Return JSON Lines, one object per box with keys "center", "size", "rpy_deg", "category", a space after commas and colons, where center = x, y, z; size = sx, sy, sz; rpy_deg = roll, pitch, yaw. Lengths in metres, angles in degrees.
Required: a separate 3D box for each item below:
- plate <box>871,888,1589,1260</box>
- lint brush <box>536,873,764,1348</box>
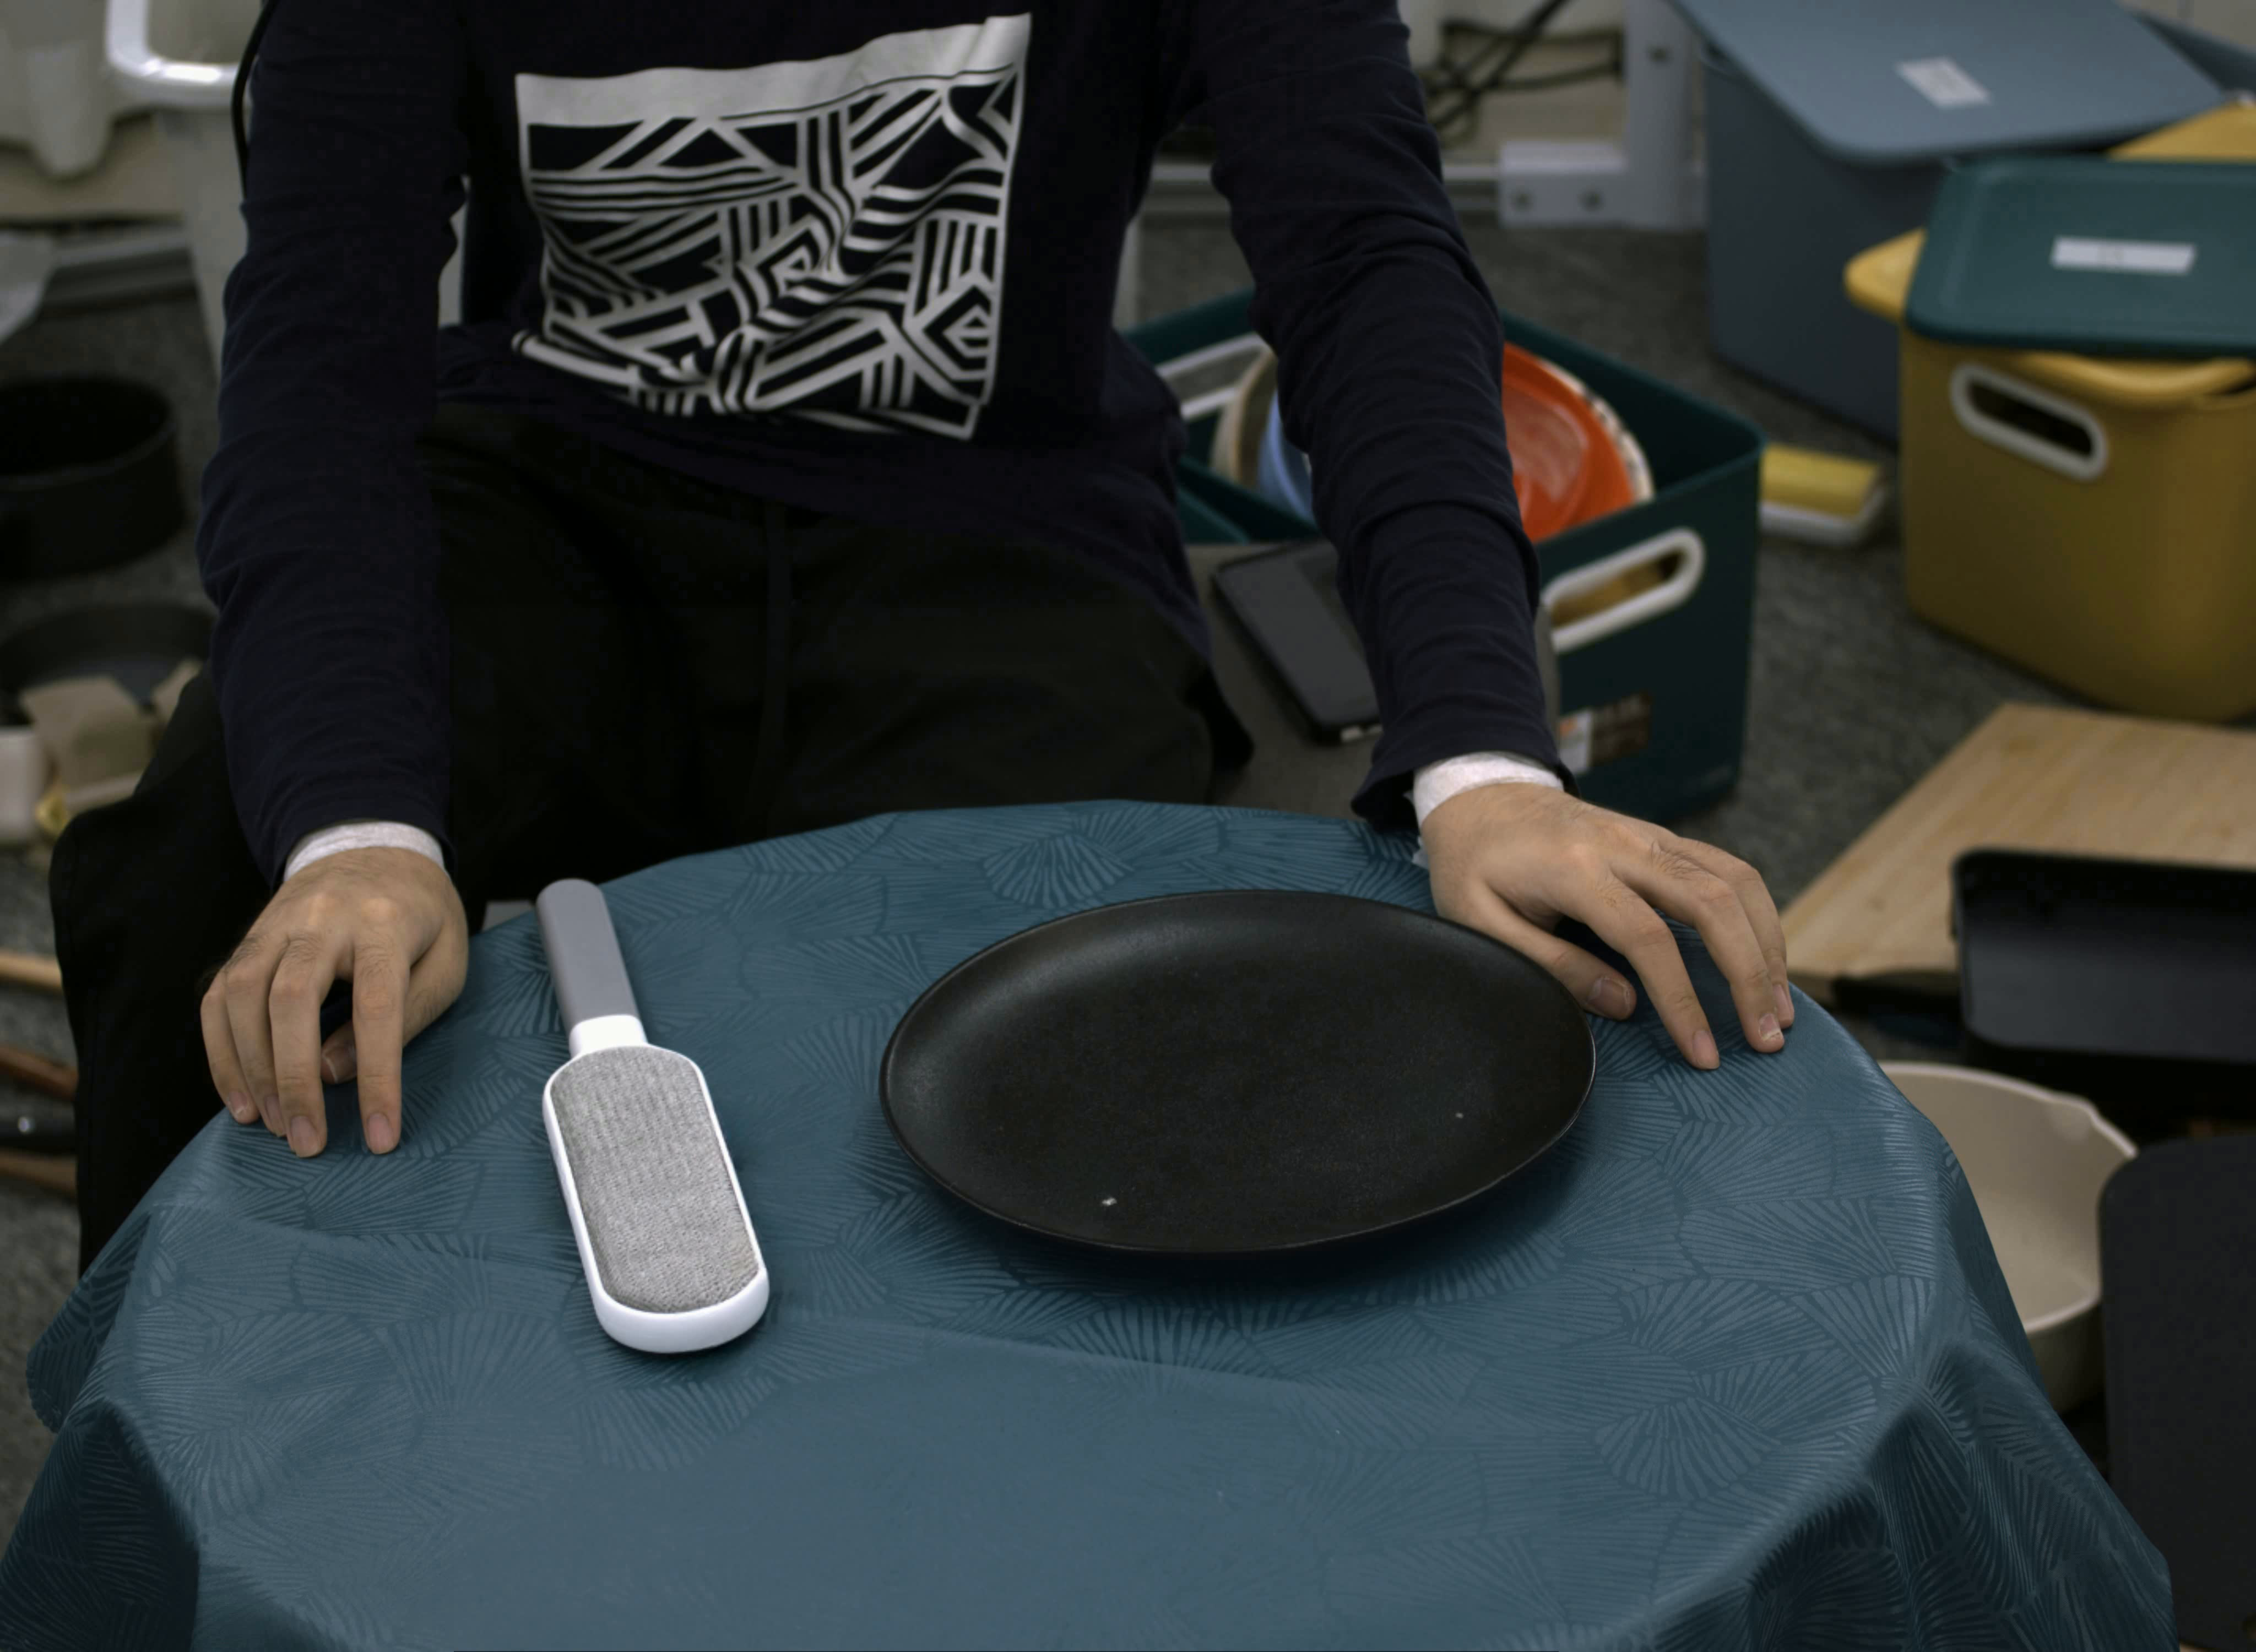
{"center": [0.034, 0.087, 1.899], "size": [0.243, 0.023, 0.248], "rpy_deg": [-2, 27, 1], "category": "plate"}
{"center": [-0.170, 0.091, 1.907], "size": [0.060, 0.021, 0.312], "rpy_deg": [-12, 28, -7], "category": "lint brush"}
